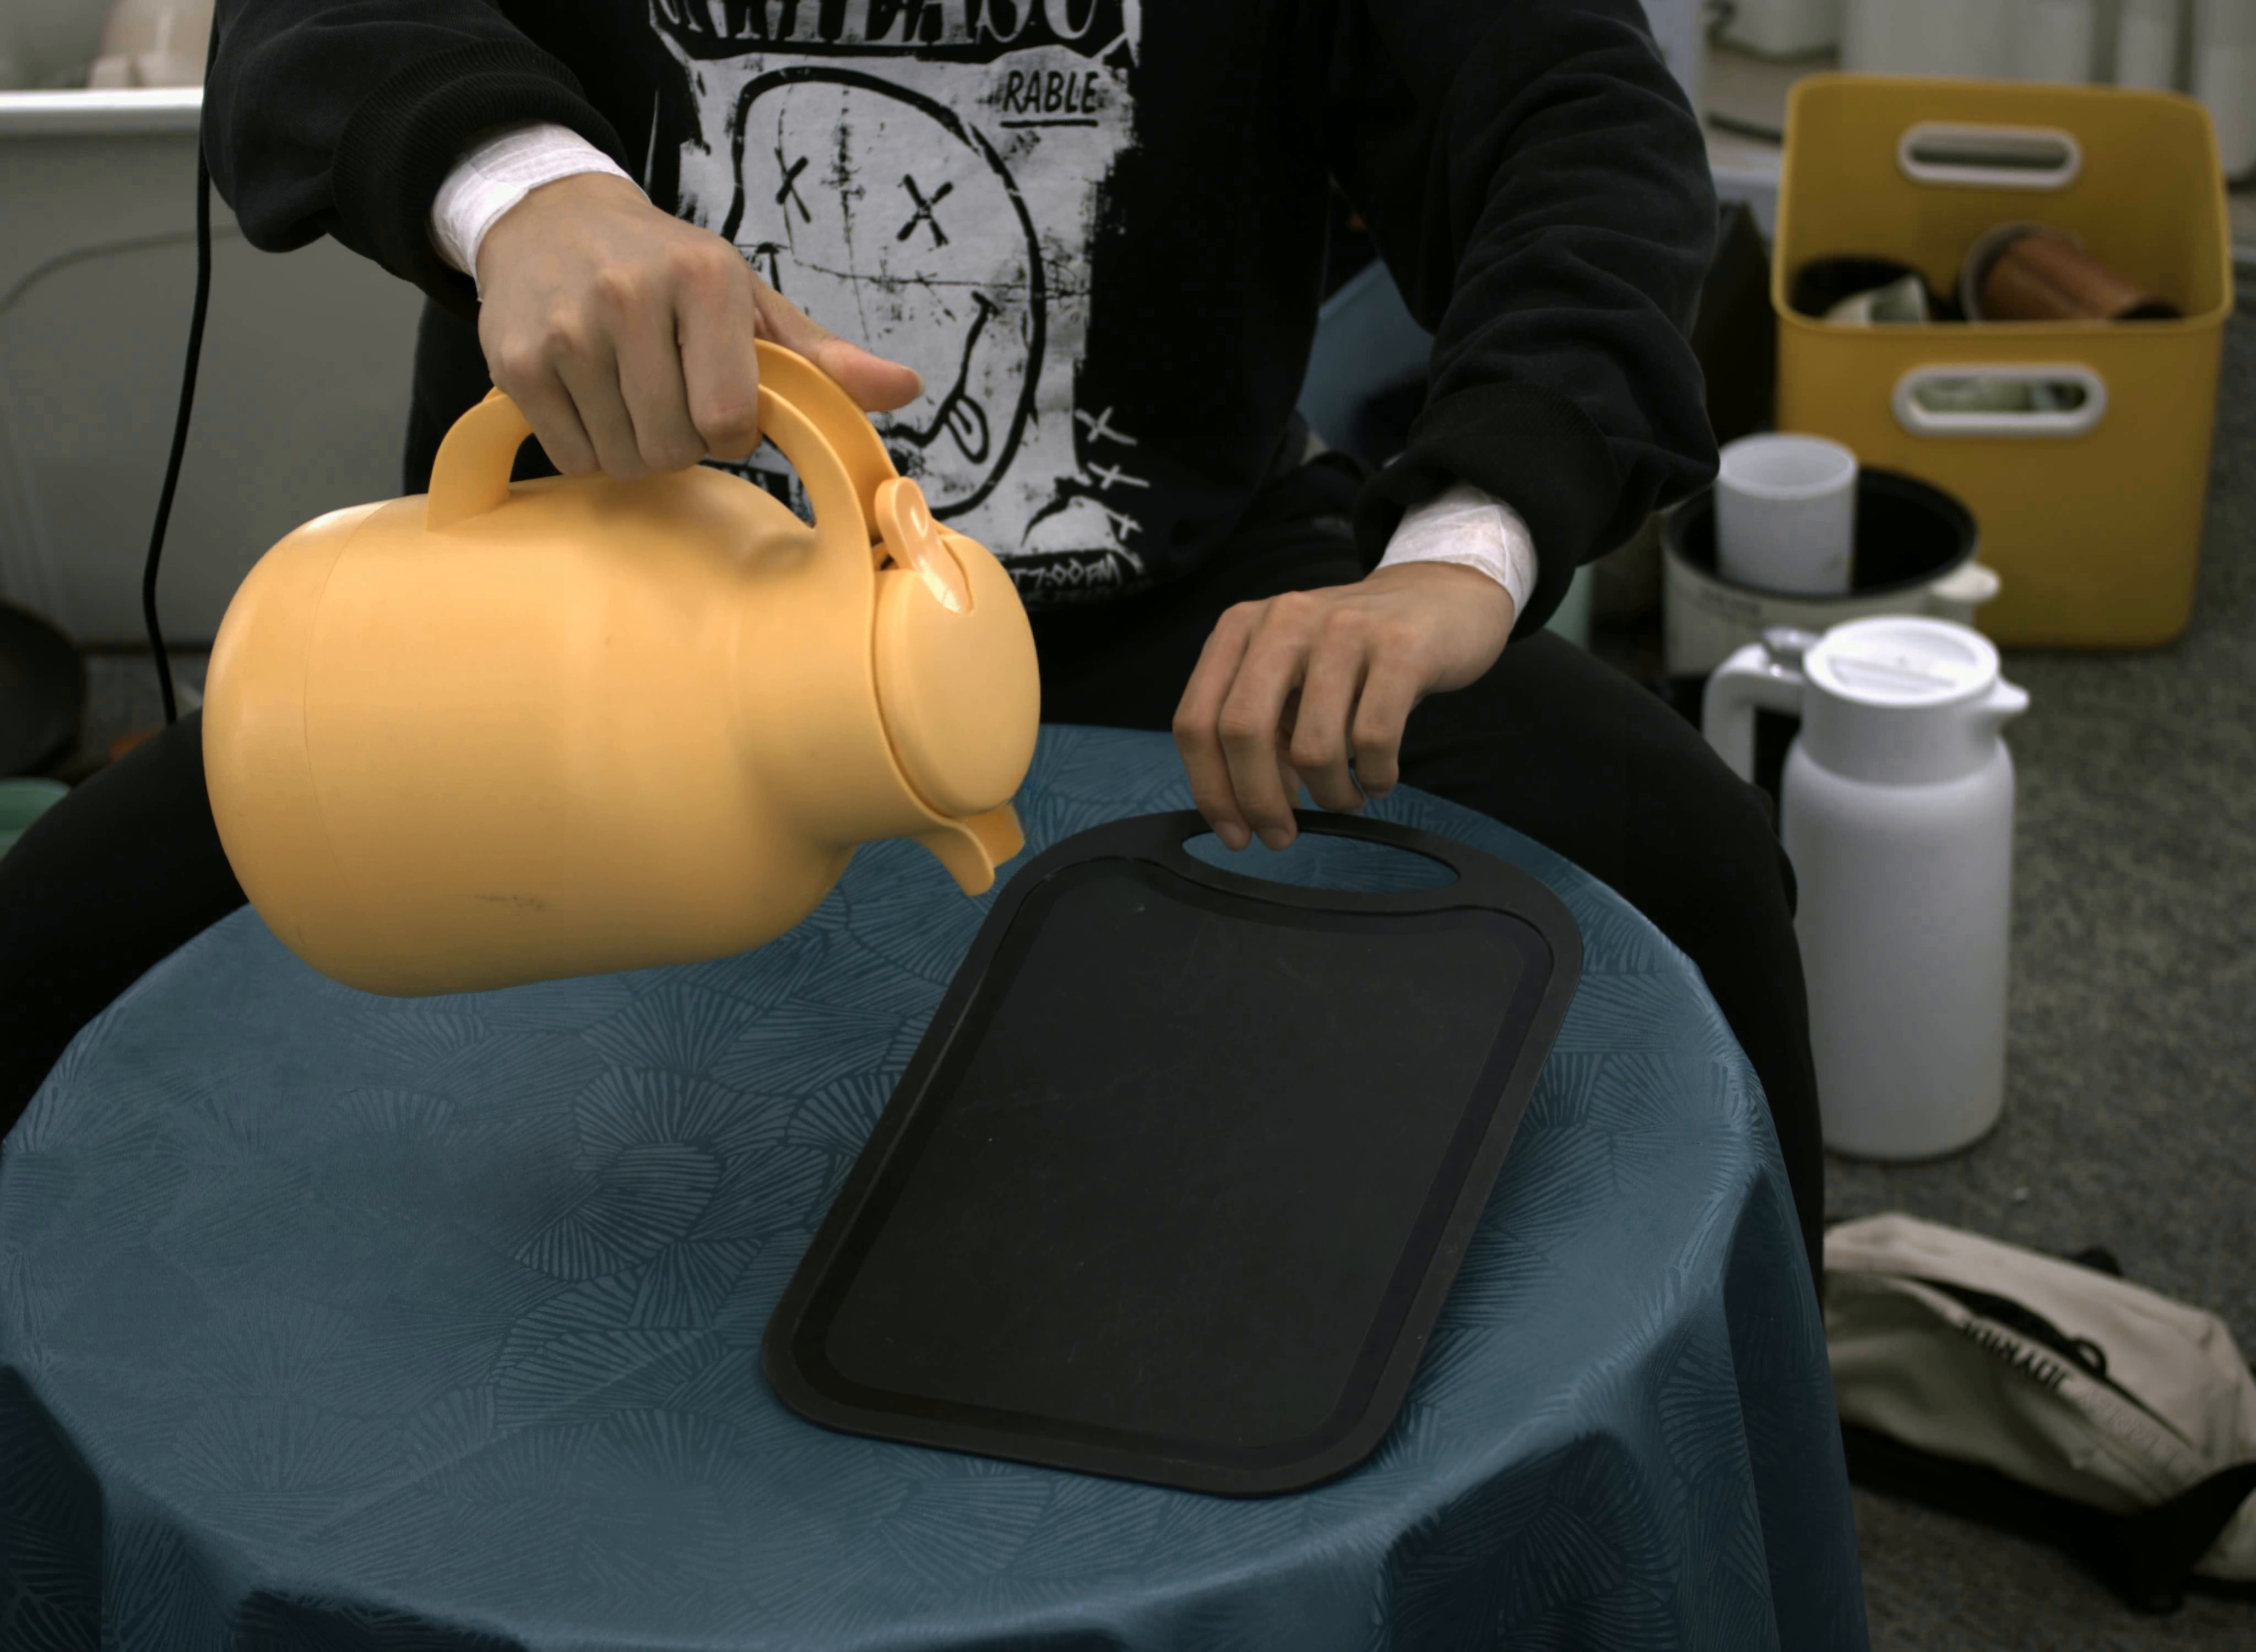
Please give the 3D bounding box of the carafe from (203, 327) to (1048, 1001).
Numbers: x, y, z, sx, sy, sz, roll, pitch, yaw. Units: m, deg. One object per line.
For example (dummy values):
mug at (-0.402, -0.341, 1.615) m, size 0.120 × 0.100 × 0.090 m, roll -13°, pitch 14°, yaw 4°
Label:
carafe at (-0.160, -0.053, 1.786) m, size 0.257 × 0.201 × 0.166 m, roll -8°, pitch 20°, yaw 24°

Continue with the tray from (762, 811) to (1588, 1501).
tray at (0.021, 0.095, 1.837) m, size 0.209 × 0.009 × 0.332 m, roll 8°, pitch 40°, yaw 18°
